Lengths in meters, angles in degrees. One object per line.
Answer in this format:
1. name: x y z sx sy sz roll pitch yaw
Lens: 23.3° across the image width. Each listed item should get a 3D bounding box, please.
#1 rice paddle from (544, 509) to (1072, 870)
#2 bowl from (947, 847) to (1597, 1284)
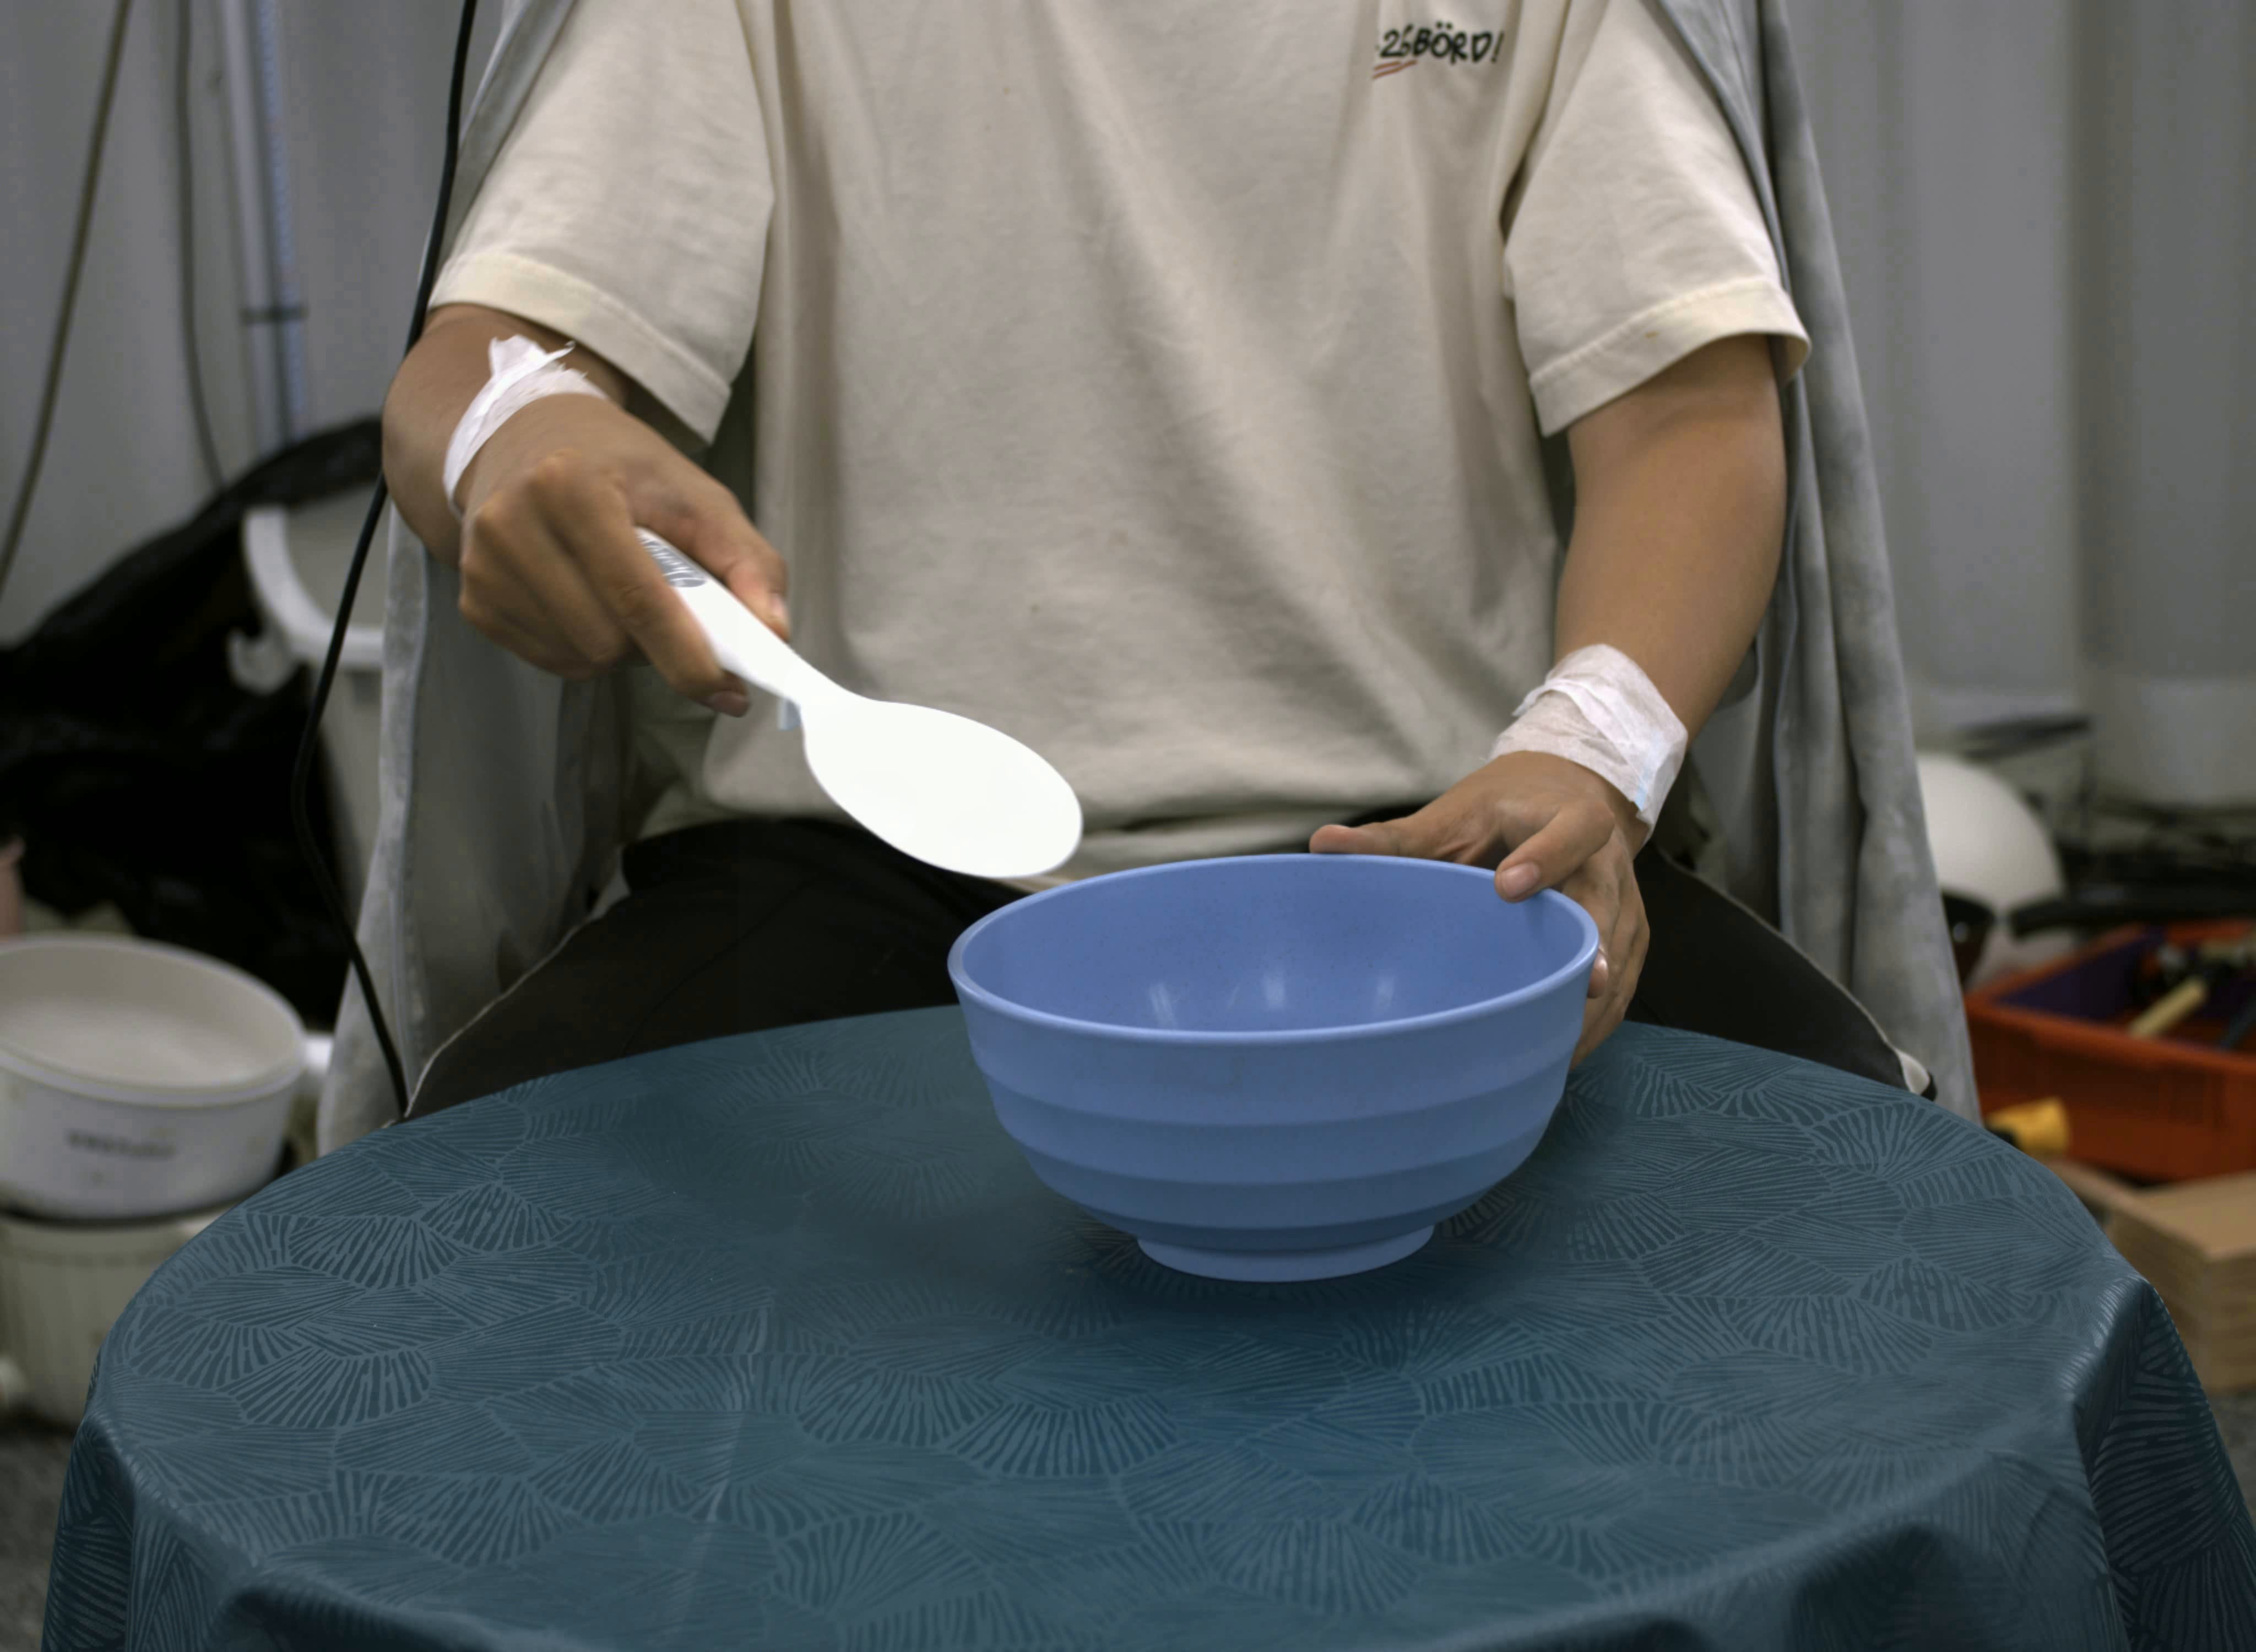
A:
1. rice paddle: -0.099 -0.040 1.678 0.207 0.029 0.069 32 44 31
2. bowl: 0.046 0.079 1.661 0.196 0.095 0.198 -3 16 1
